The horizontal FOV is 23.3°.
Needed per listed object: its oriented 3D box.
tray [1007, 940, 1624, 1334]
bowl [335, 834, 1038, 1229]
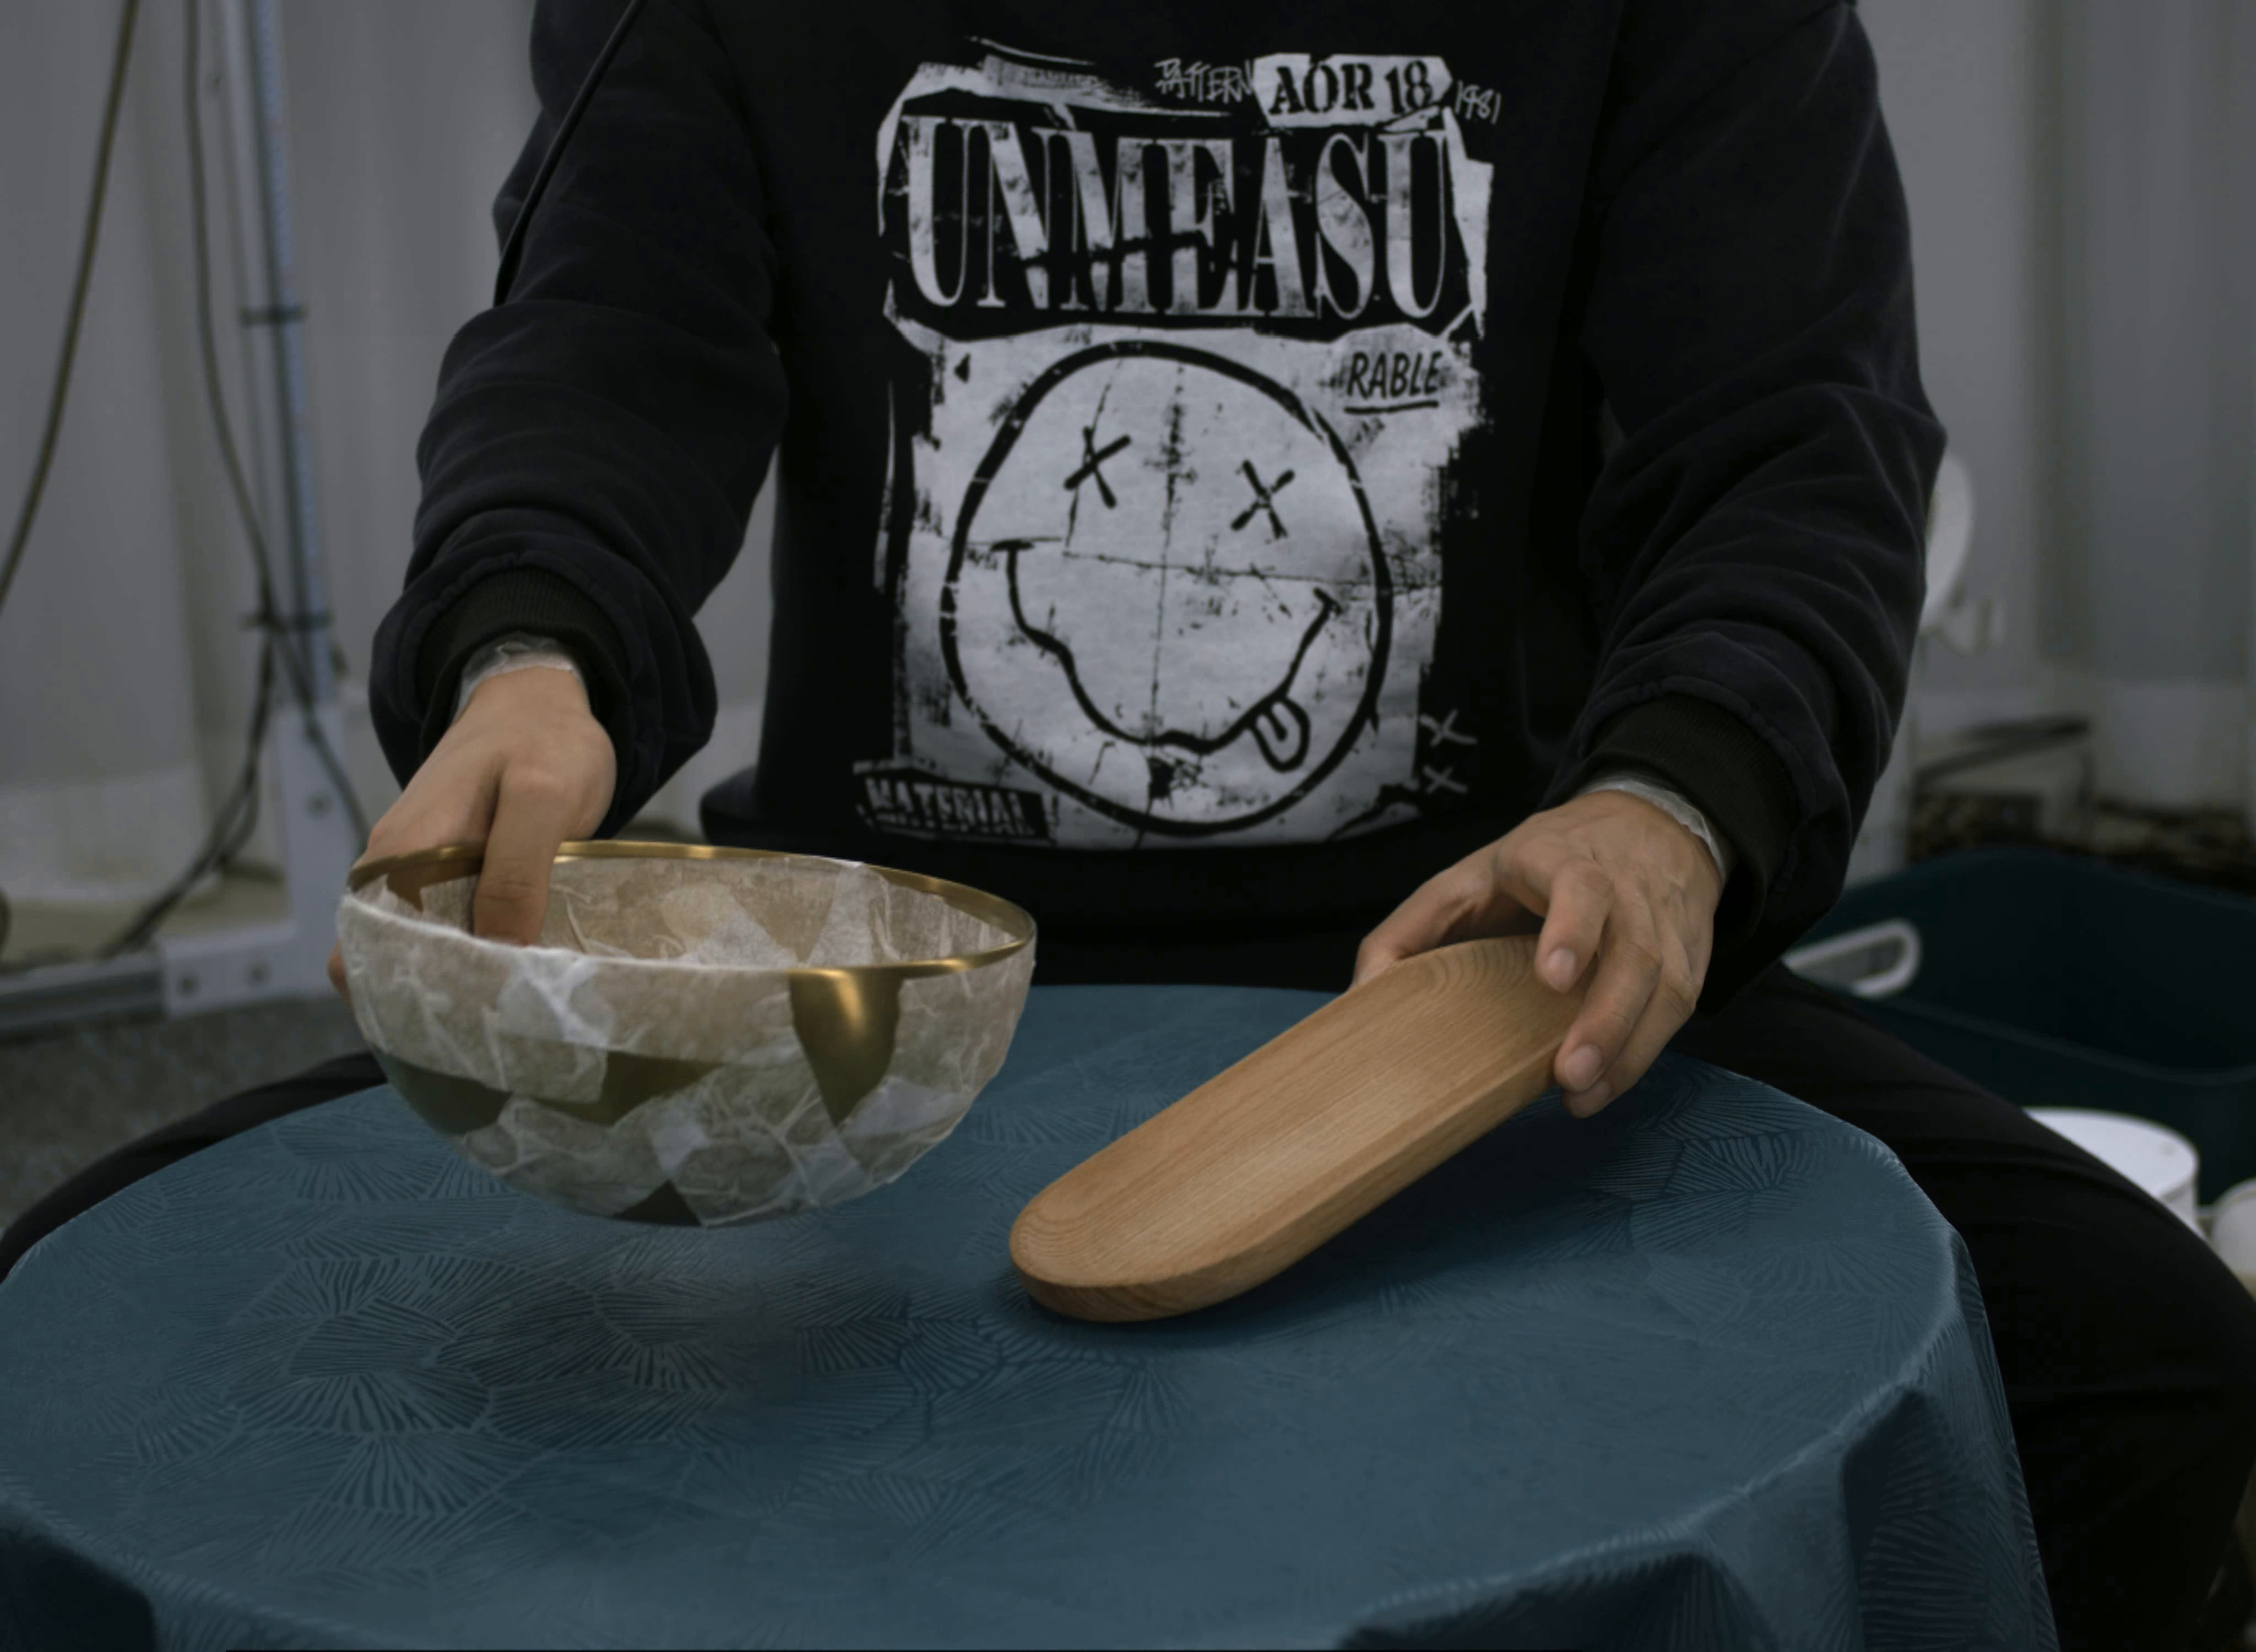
[{"bbox_3d":[0.060,0.093,1.662,0.232,0.020,0.102,-33,24,-34],"label":"tray"},{"bbox_3d":[-0.125,0.065,1.582,0.214,0.094,0.215,3,8,-1],"label":"bowl"}]
